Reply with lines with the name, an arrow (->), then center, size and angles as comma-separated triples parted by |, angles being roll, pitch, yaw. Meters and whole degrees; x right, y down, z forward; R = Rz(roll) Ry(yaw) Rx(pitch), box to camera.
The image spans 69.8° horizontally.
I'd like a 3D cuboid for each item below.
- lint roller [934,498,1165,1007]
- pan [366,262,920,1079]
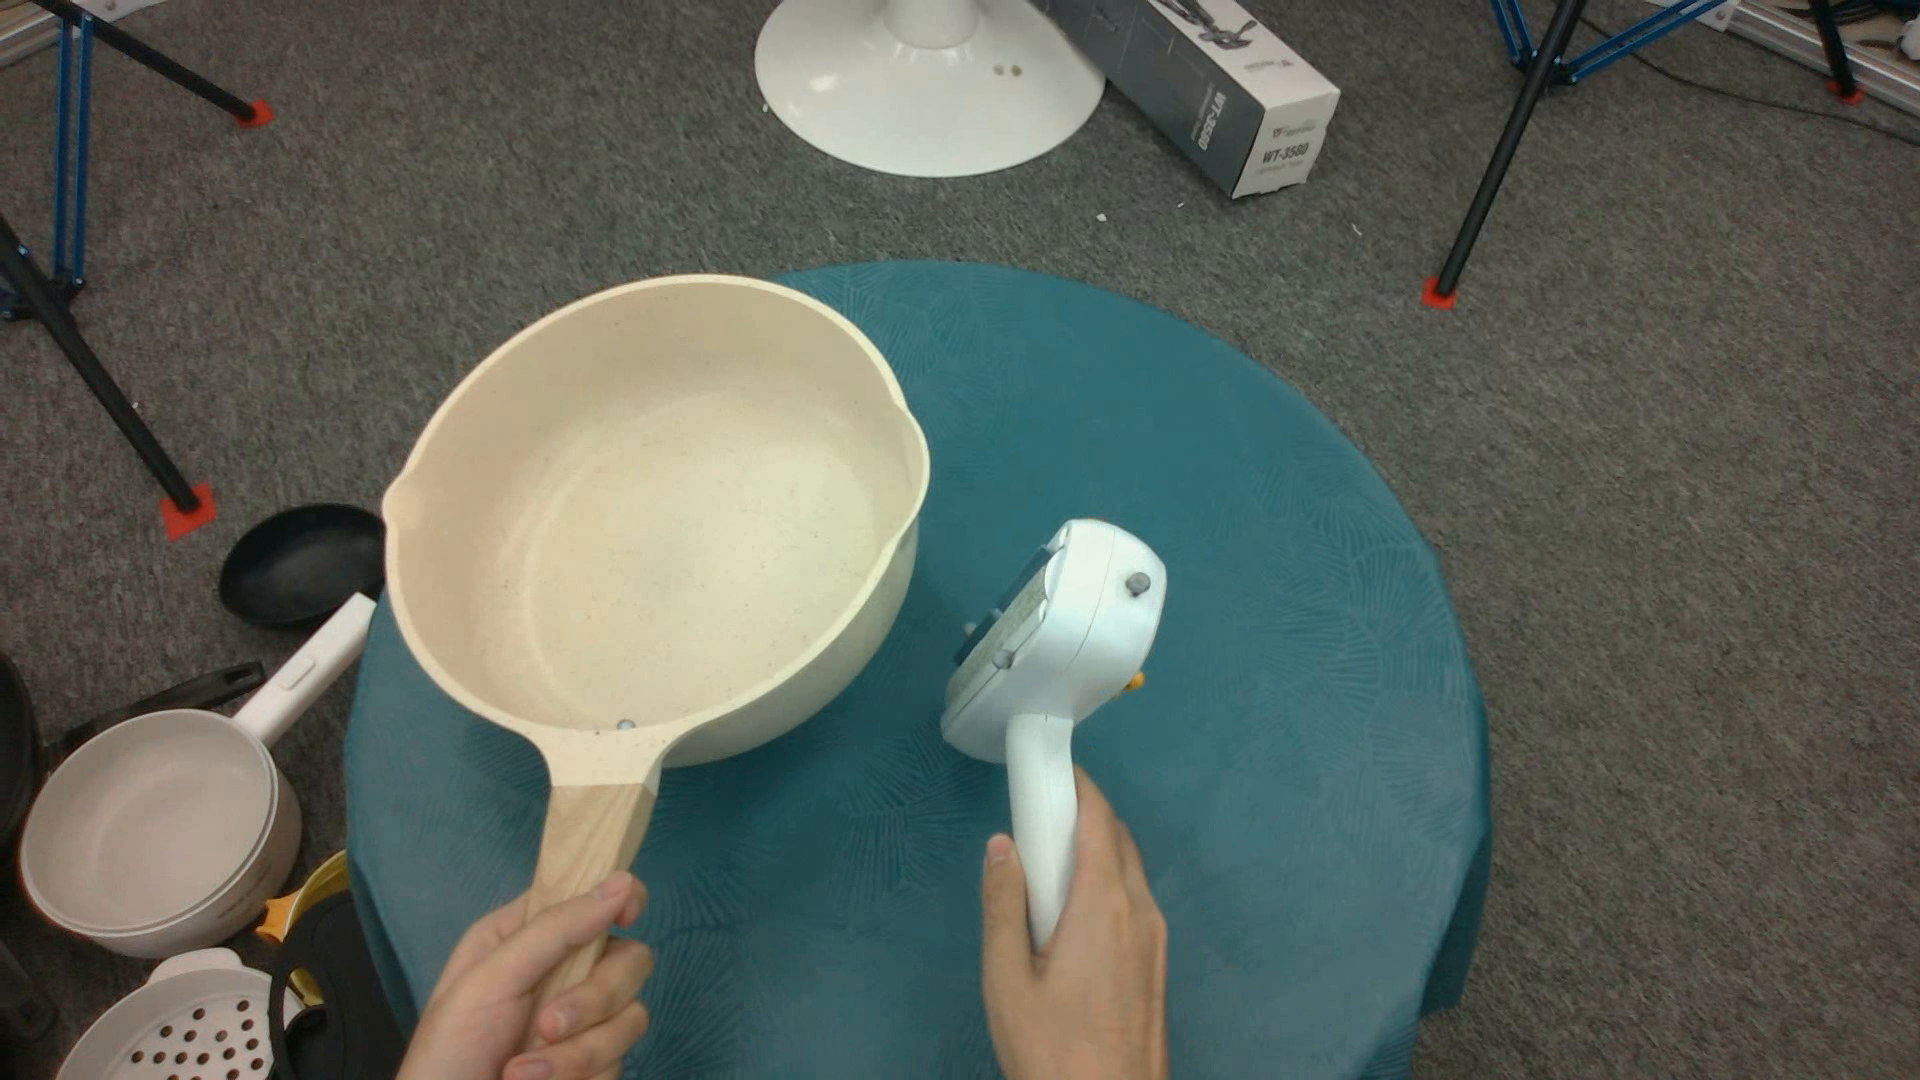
lint roller -> 0.031, 0.097, 0.591 | 0.074, 0.192, 0.193 | 15, 69, -14
pan -> -0.147, 0.065, 0.617 | 0.263, 0.101, 0.436 | -2, 60, 6
